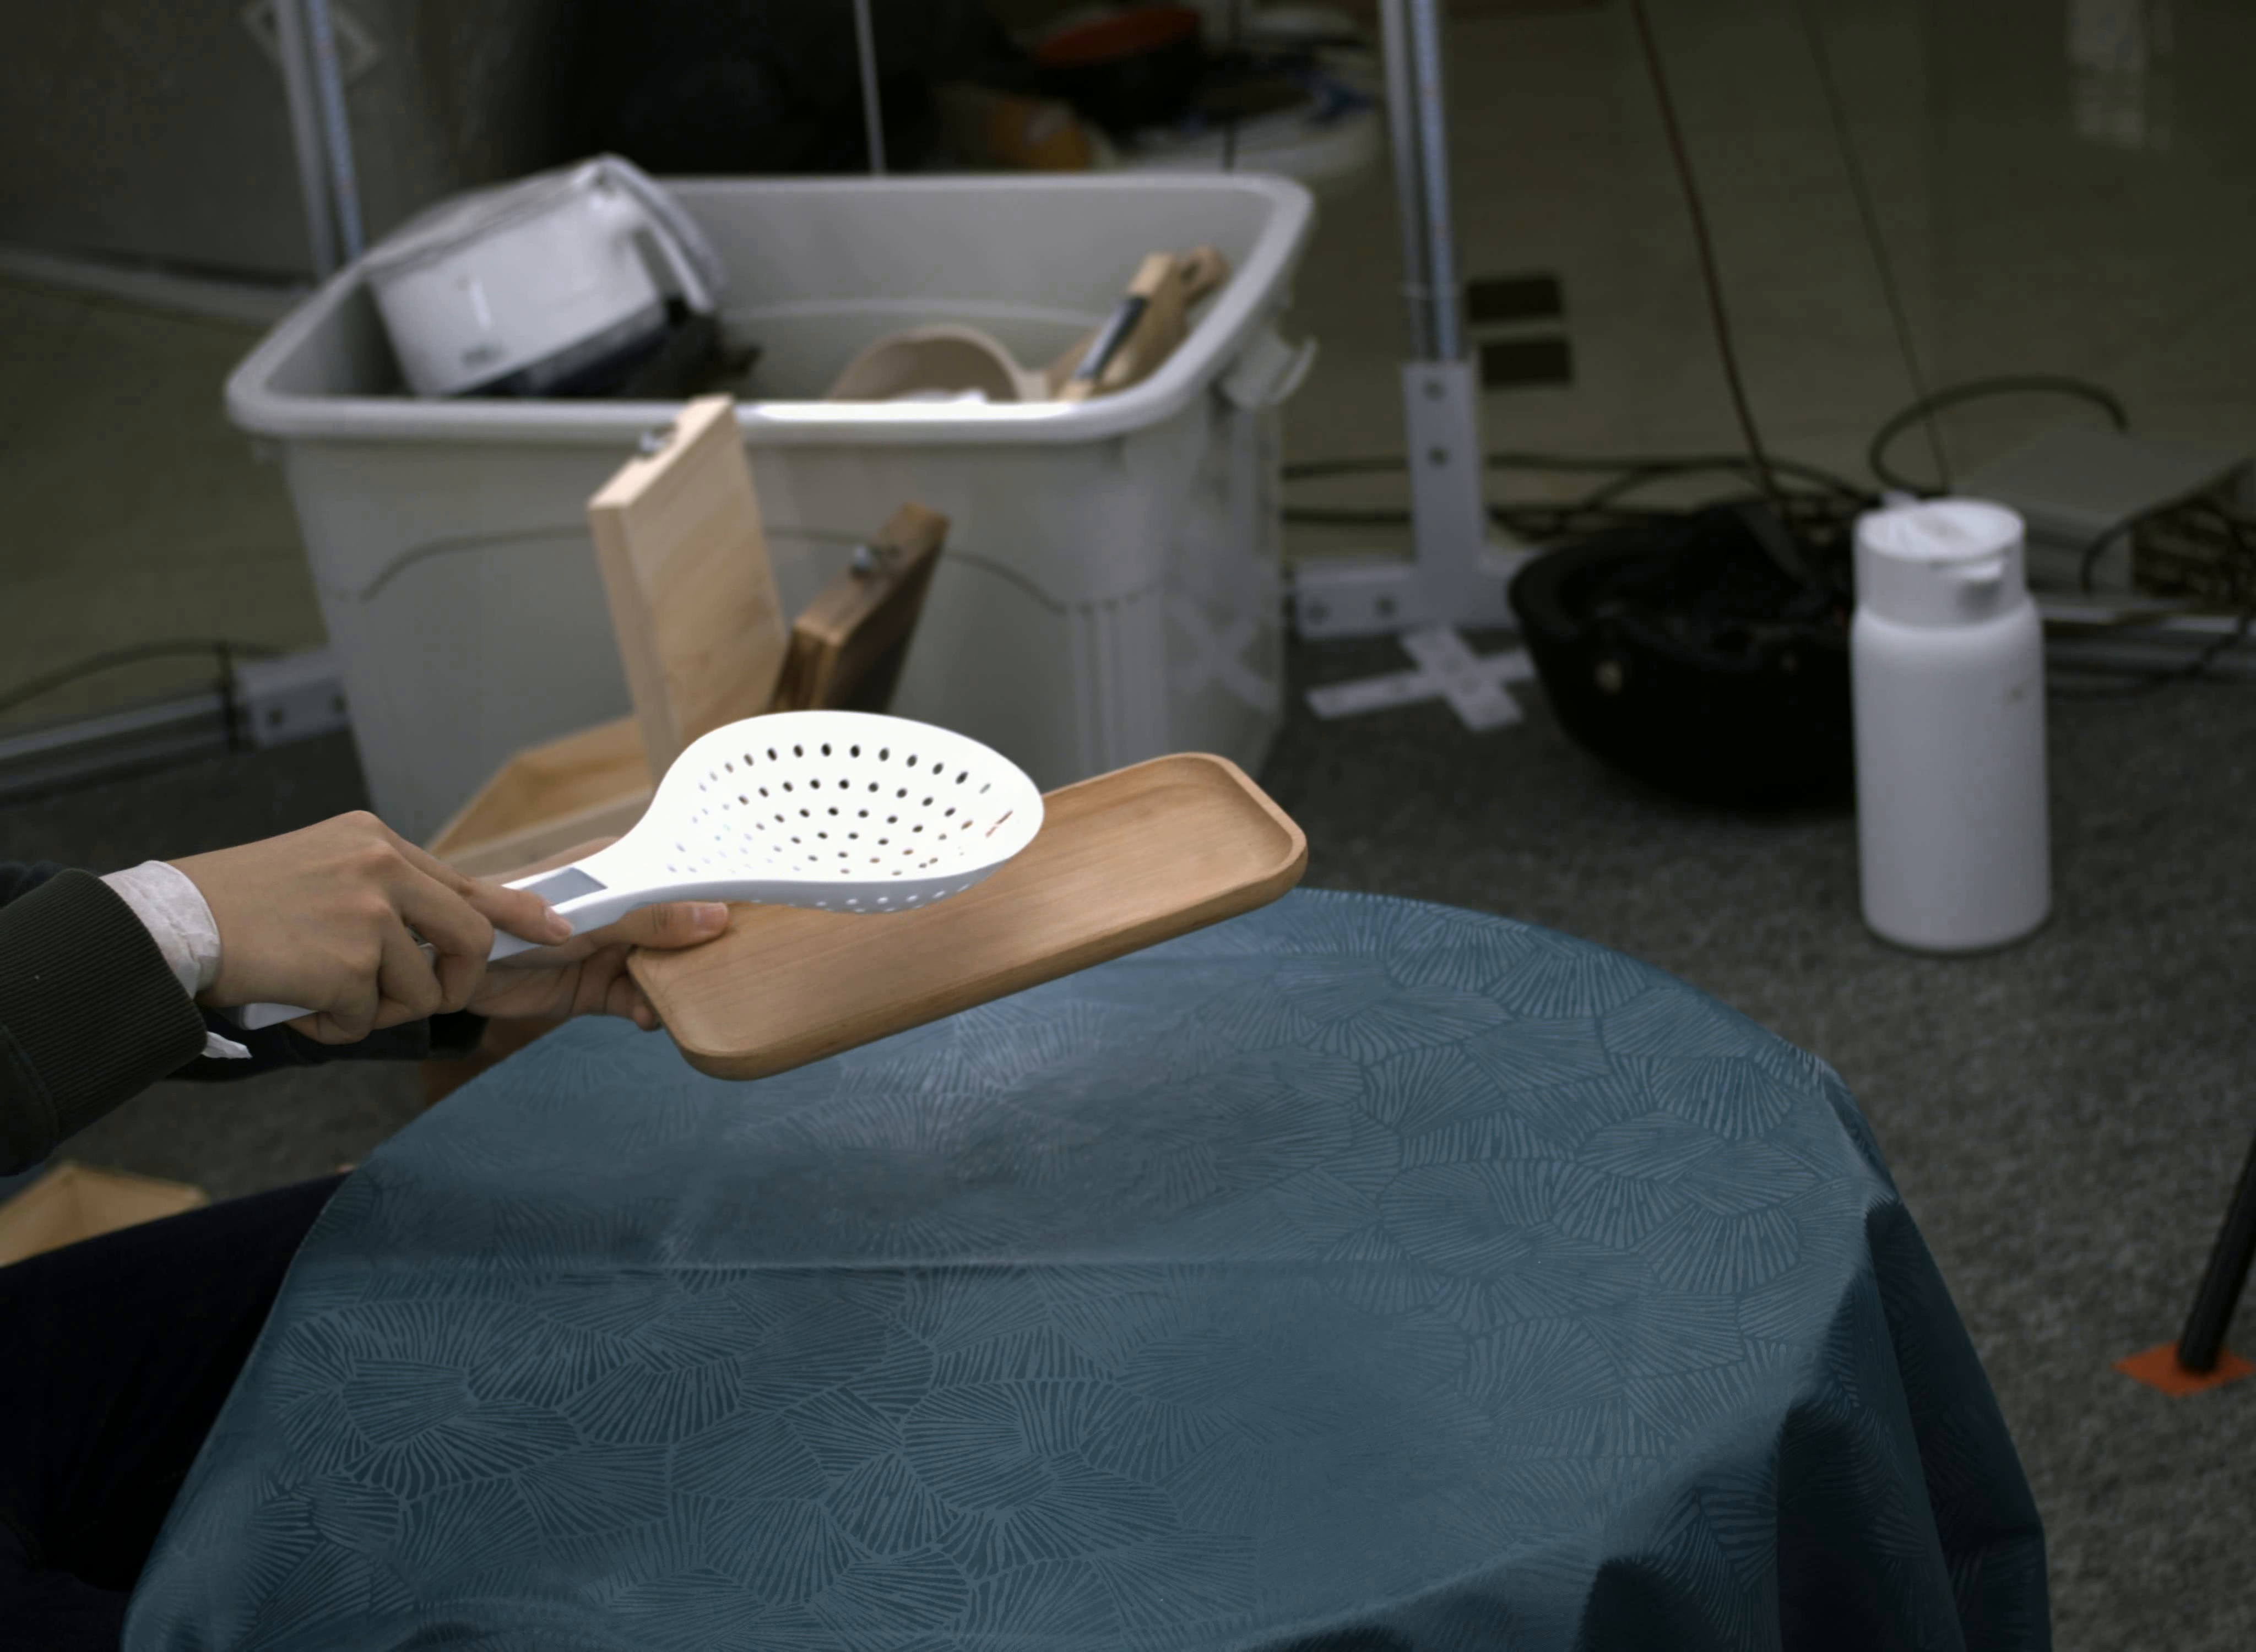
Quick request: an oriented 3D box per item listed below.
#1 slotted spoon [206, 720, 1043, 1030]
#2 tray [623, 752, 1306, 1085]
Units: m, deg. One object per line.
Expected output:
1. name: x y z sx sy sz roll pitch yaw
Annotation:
1. slotted spoon: -0.177 0.020 2.003 0.348 0.046 0.134 -12 31 -44
2. tray: -0.061 0.034 2.137 0.250 0.023 0.129 -19 26 -12
